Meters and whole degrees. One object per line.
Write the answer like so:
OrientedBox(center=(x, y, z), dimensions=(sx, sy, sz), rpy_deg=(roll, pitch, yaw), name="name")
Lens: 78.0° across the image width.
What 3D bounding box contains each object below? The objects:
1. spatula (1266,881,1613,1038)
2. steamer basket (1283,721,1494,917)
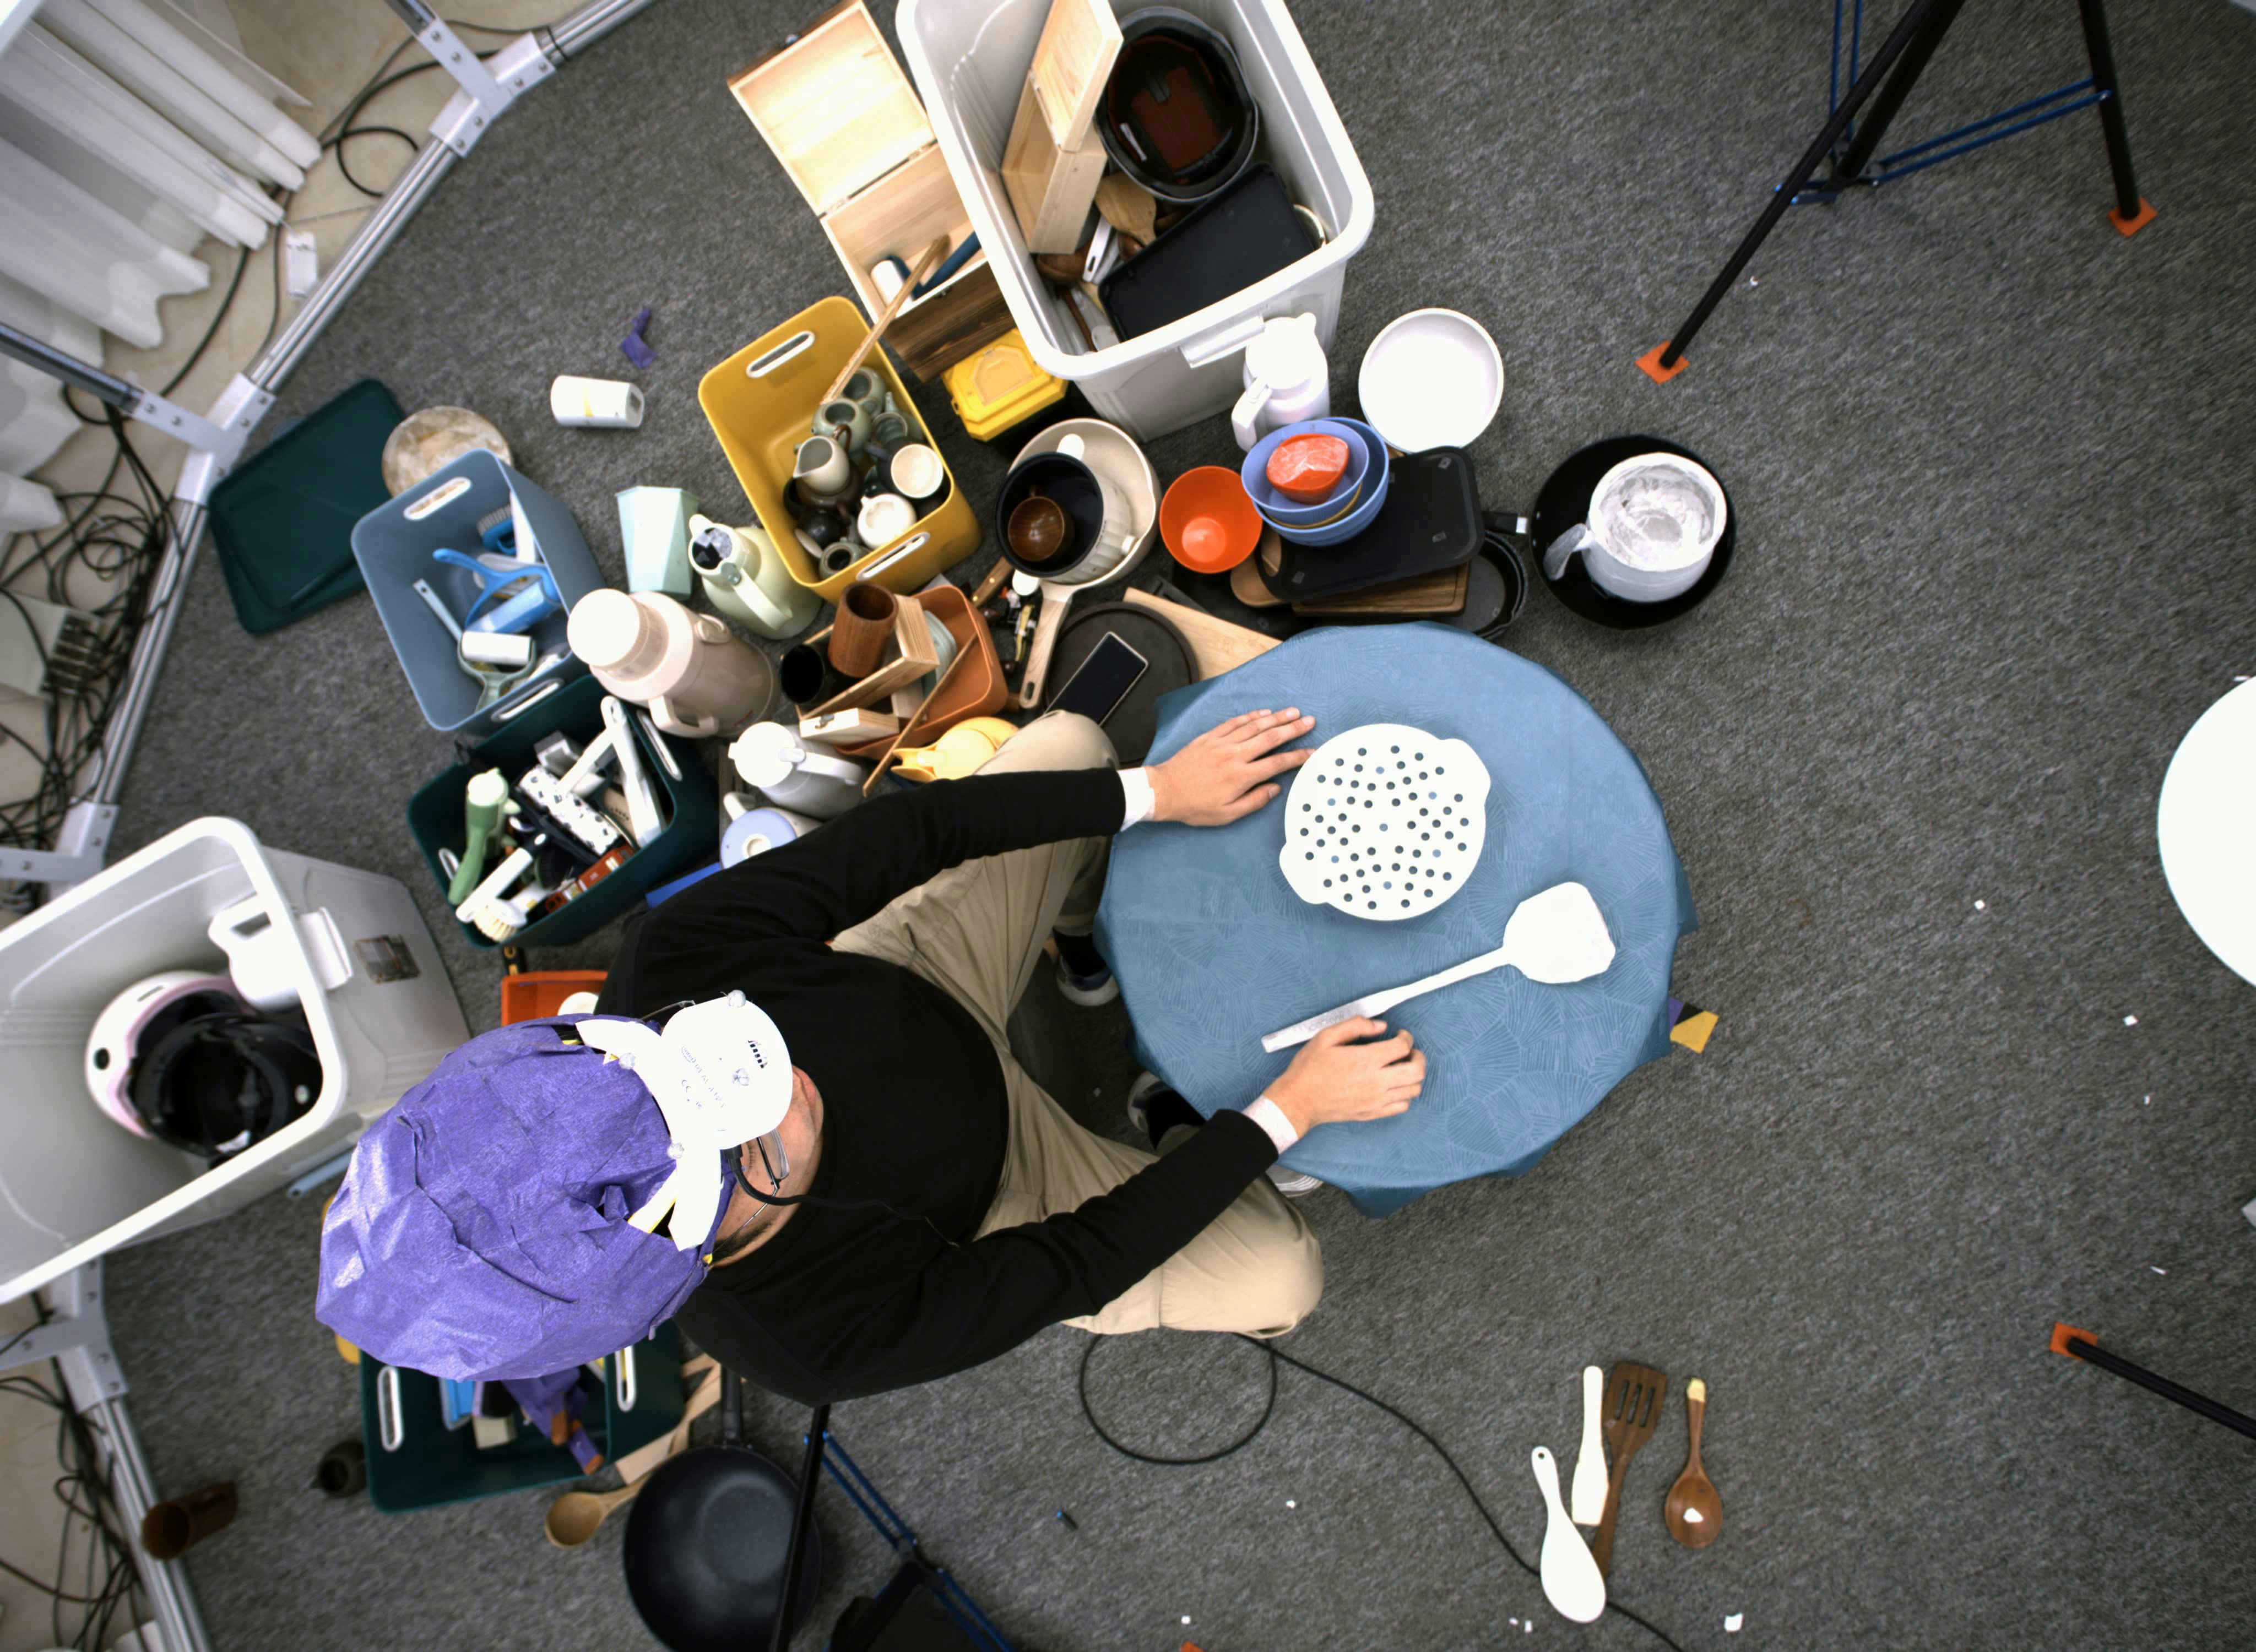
OrientedBox(center=(0.316, 0.157, 1.428), dimensions=(0.367, 0.044, 0.098), rpy_deg=(-21, 86, 9), name="spatula")
OrientedBox(center=(0.270, -0.006, 1.429), dimensions=(0.232, 0.069, 0.200), rpy_deg=(-33, 80, 8), name="steamer basket")
